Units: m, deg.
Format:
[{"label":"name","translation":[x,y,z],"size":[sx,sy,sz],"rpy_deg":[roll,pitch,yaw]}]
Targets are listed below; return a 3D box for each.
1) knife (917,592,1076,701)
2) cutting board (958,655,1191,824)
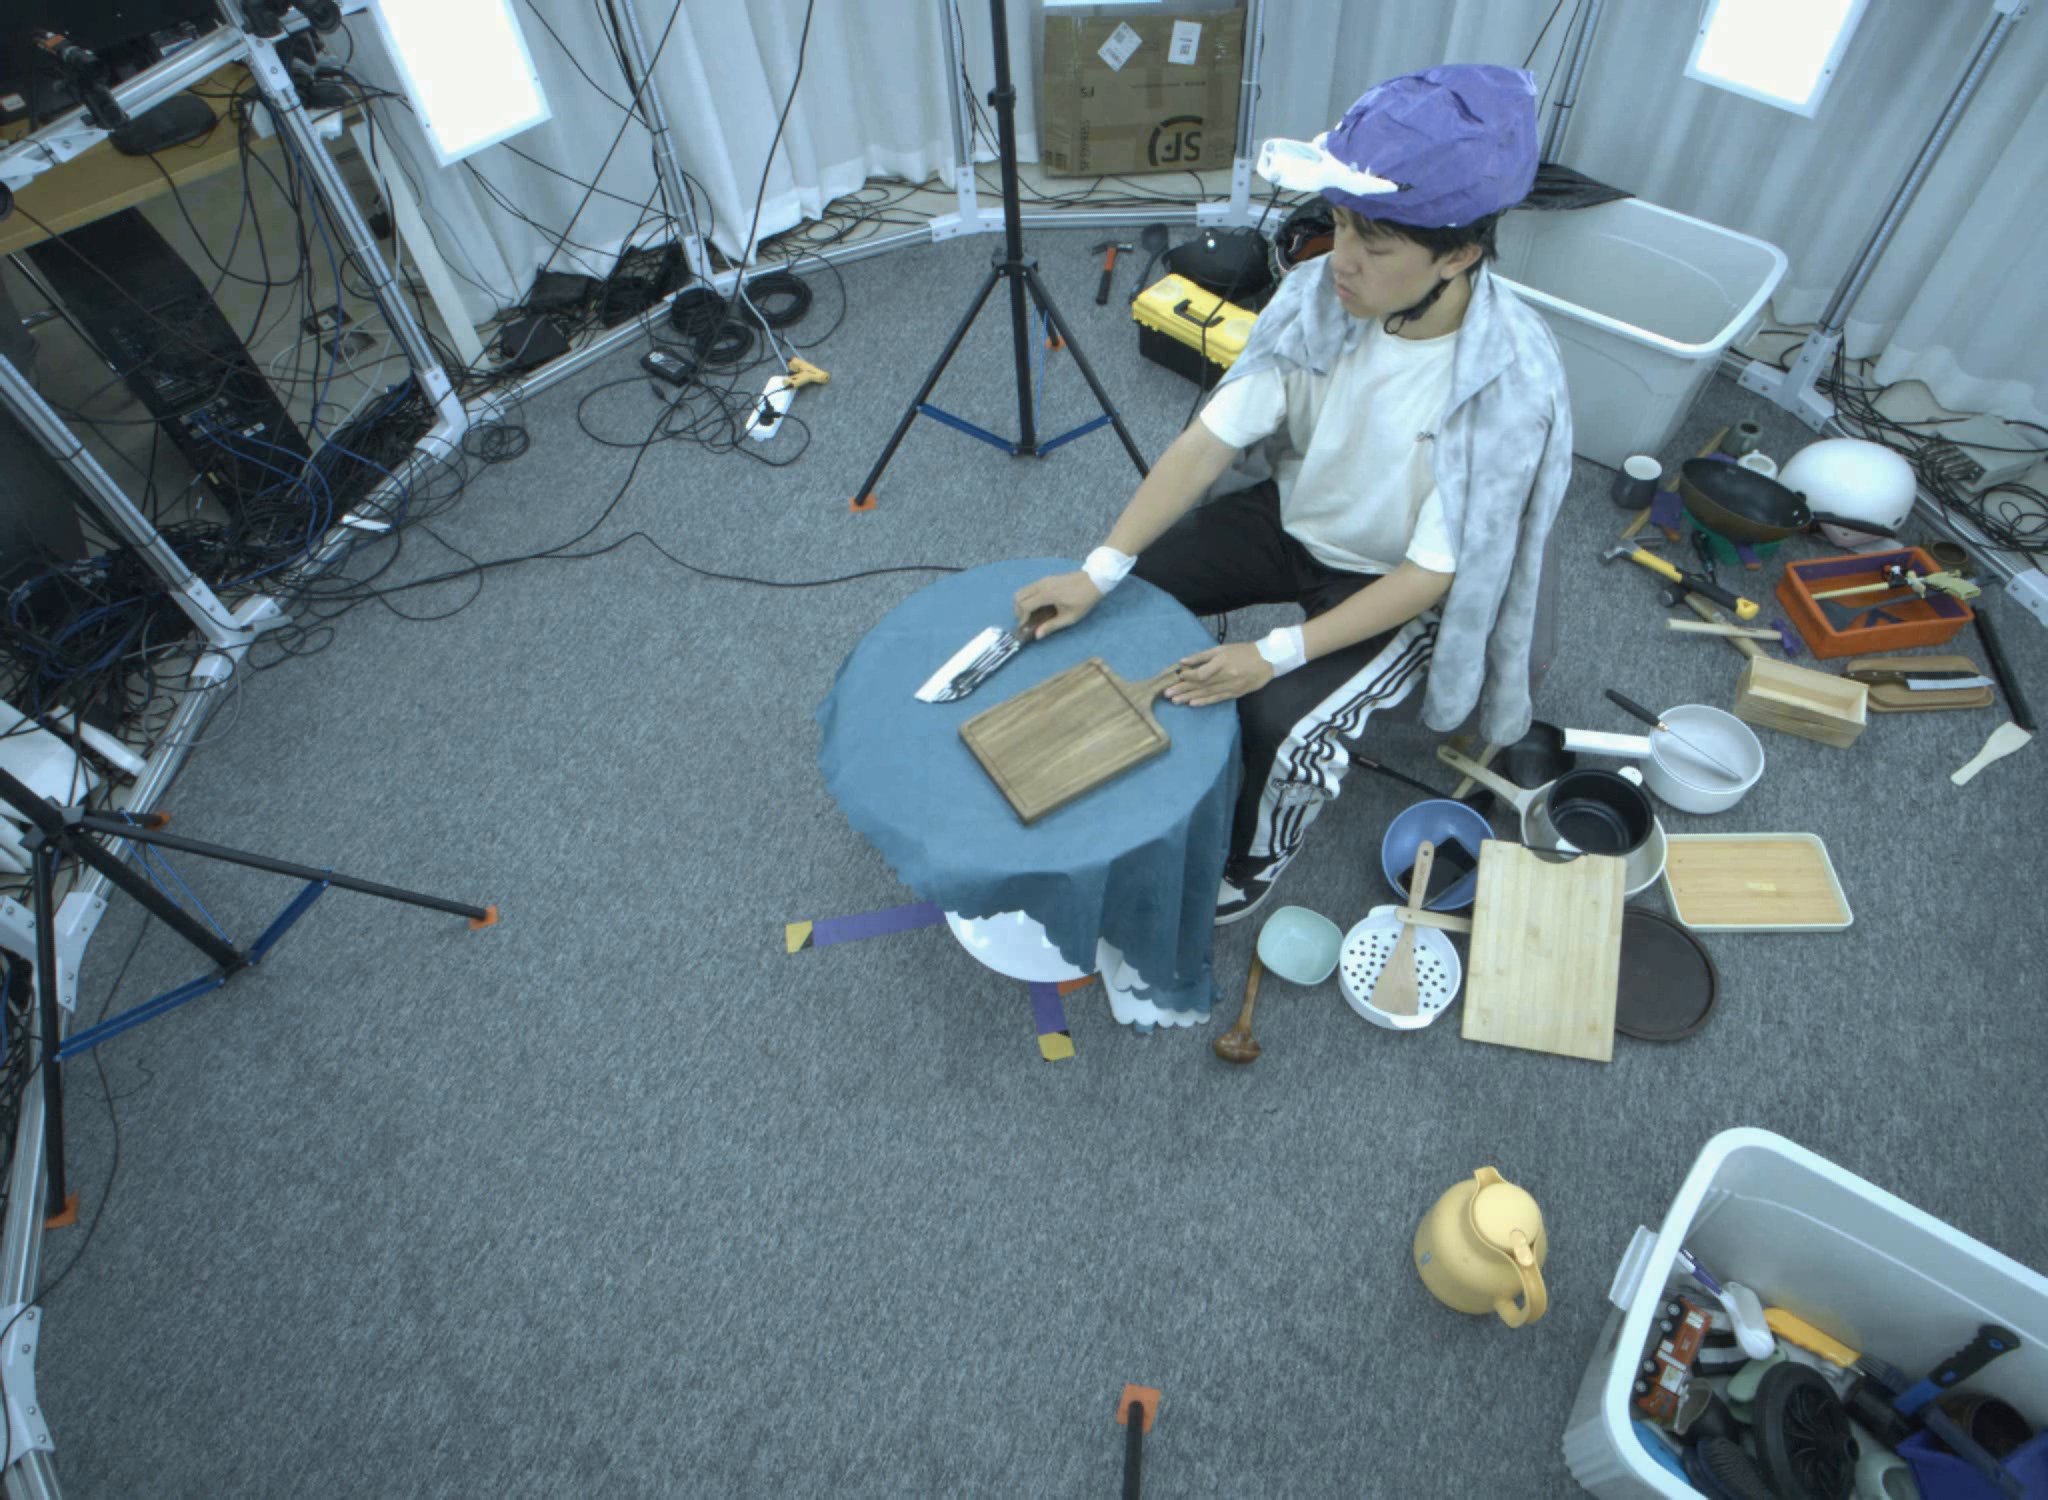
[{"label":"knife","translation":[-0.042,-0.163,1.893],"size":[0.067,0.024,0.301],"rpy_deg":[38,67,25]},{"label":"cutting board","translation":[0.100,-0.043,1.804],"size":[0.355,0.023,0.197],"rpy_deg":[-28,59,-17]}]
